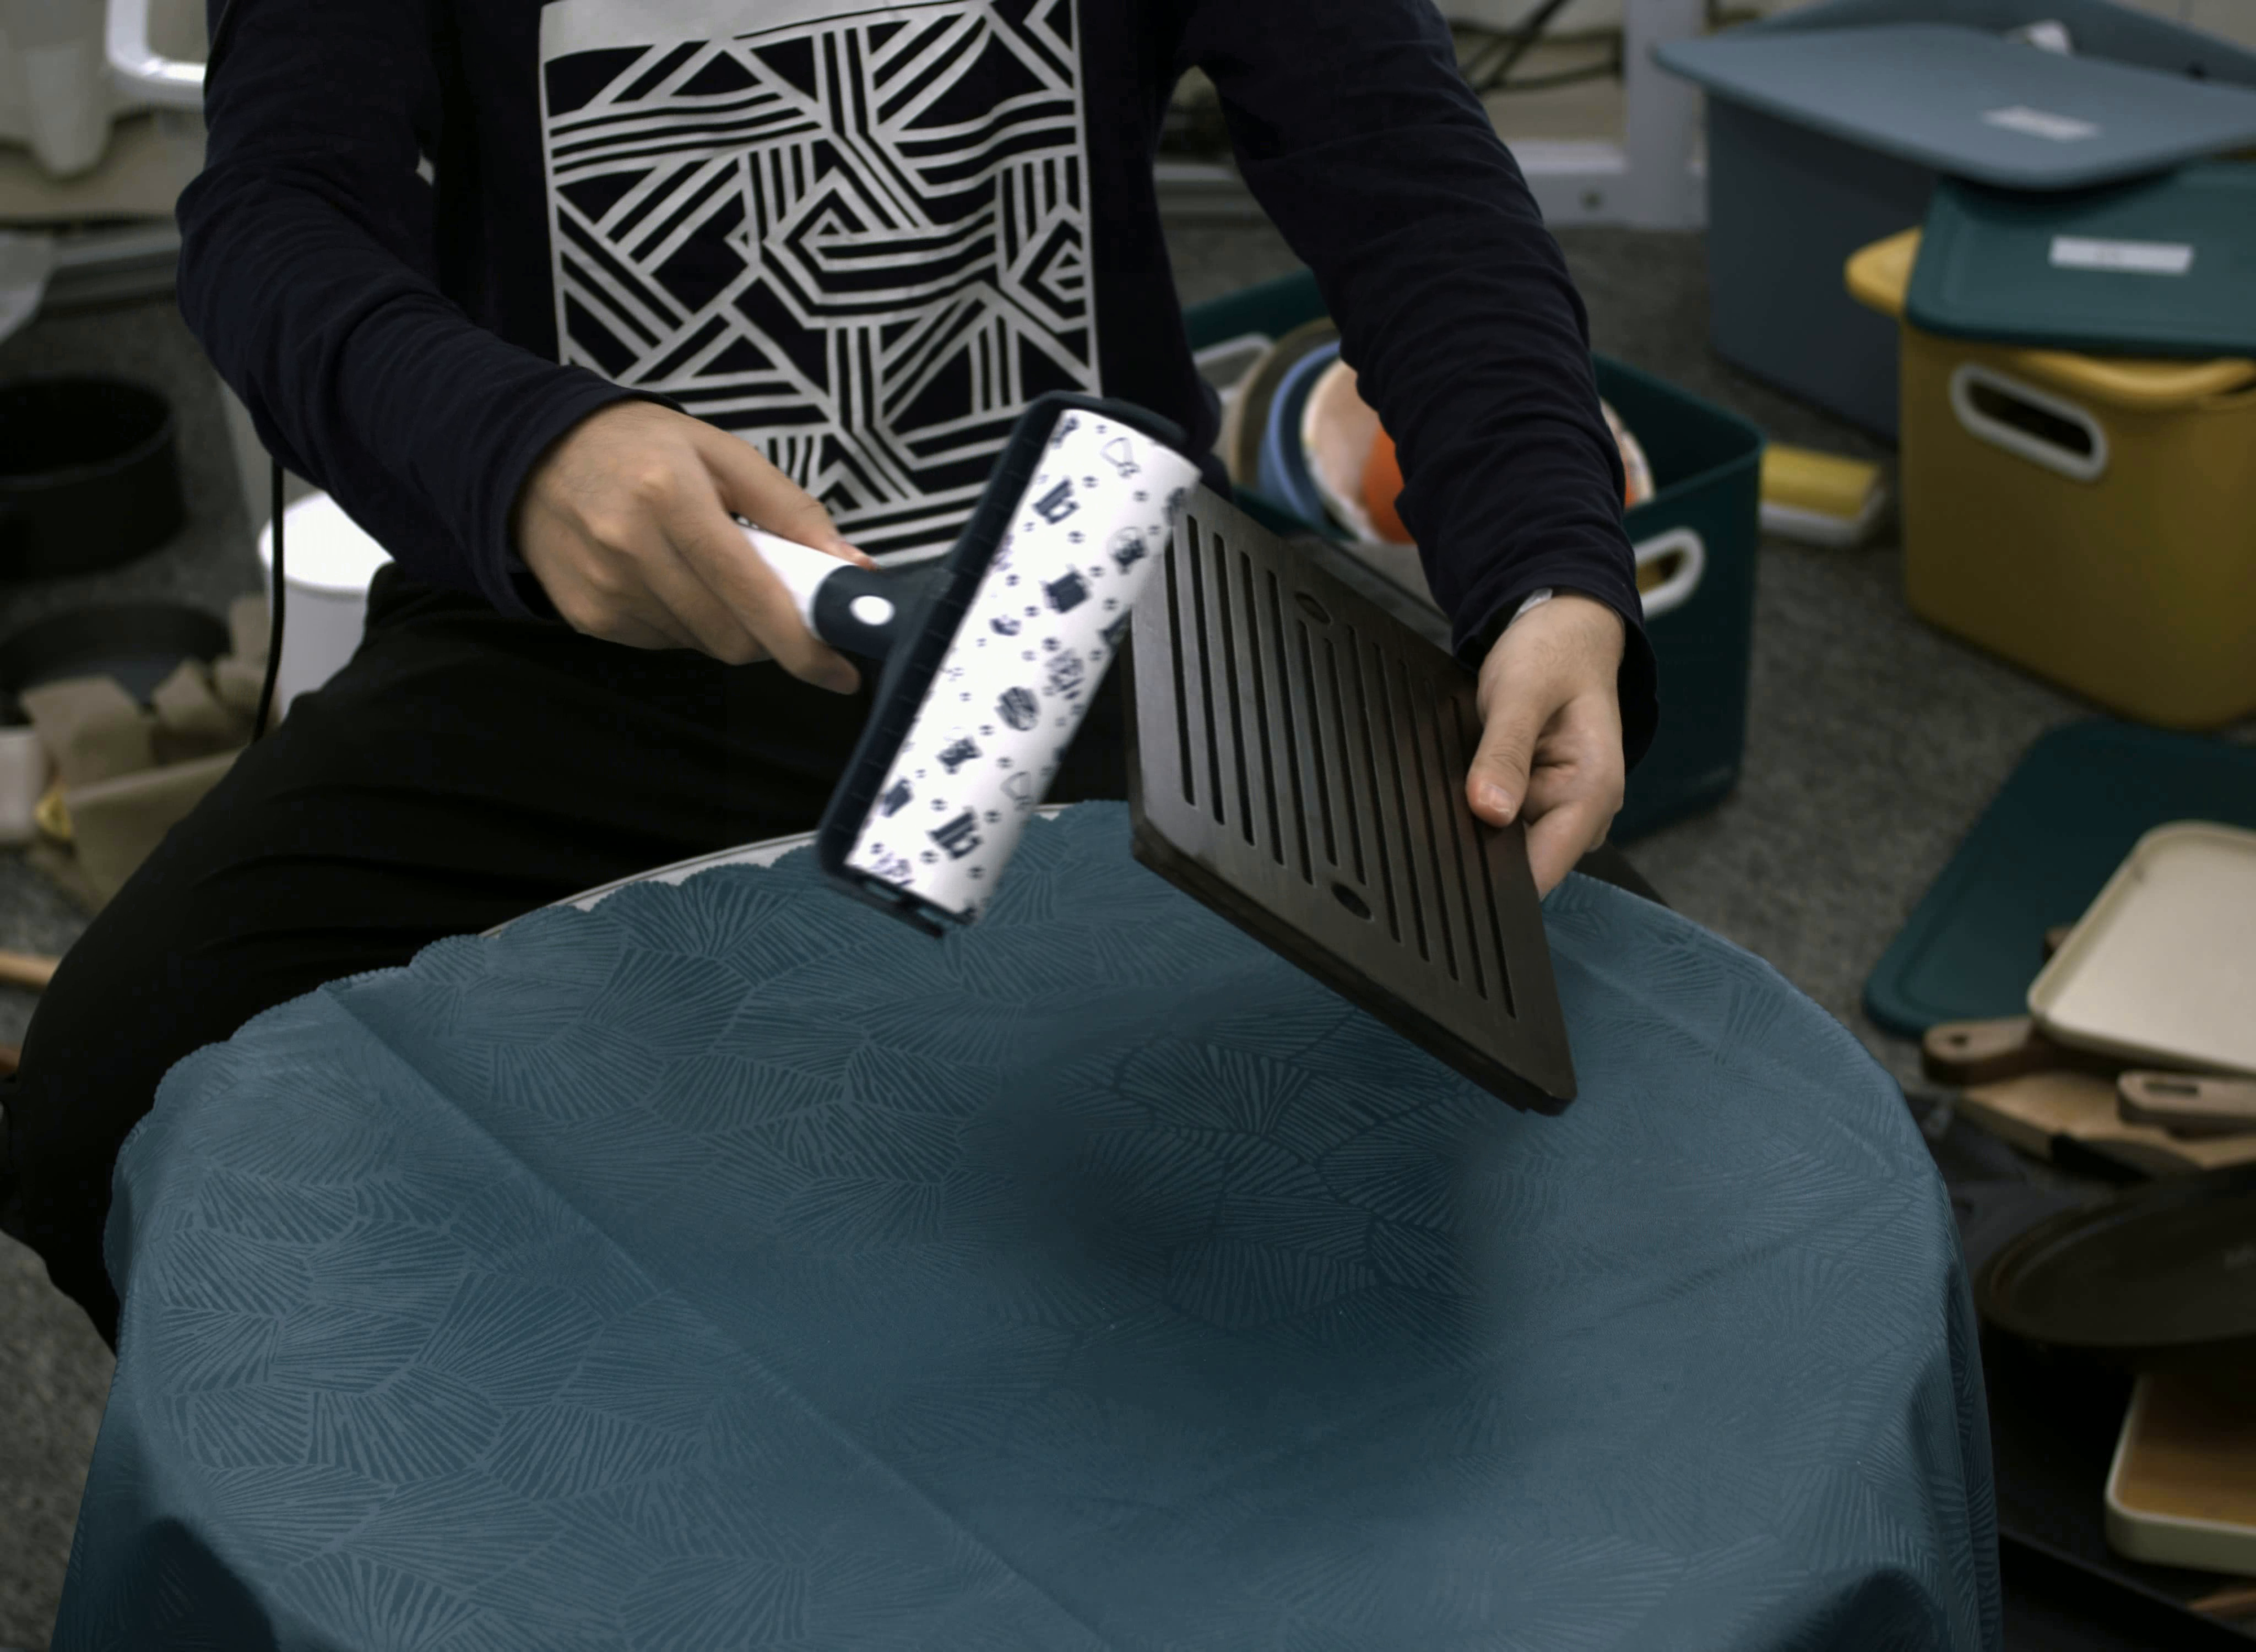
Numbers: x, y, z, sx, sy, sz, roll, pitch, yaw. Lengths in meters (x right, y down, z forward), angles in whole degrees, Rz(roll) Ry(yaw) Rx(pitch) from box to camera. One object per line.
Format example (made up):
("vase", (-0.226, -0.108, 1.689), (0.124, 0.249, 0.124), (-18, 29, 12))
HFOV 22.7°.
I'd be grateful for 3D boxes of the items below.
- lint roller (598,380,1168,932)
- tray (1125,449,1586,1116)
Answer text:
("lint roller", (-0.104, -0.075, 1.829), (0.246, 0.177, 0.050), (19, -8, 47))
("tray", (0.067, -0.019, 1.848), (0.169, 0.018, 0.310), (34, 21, -16))
